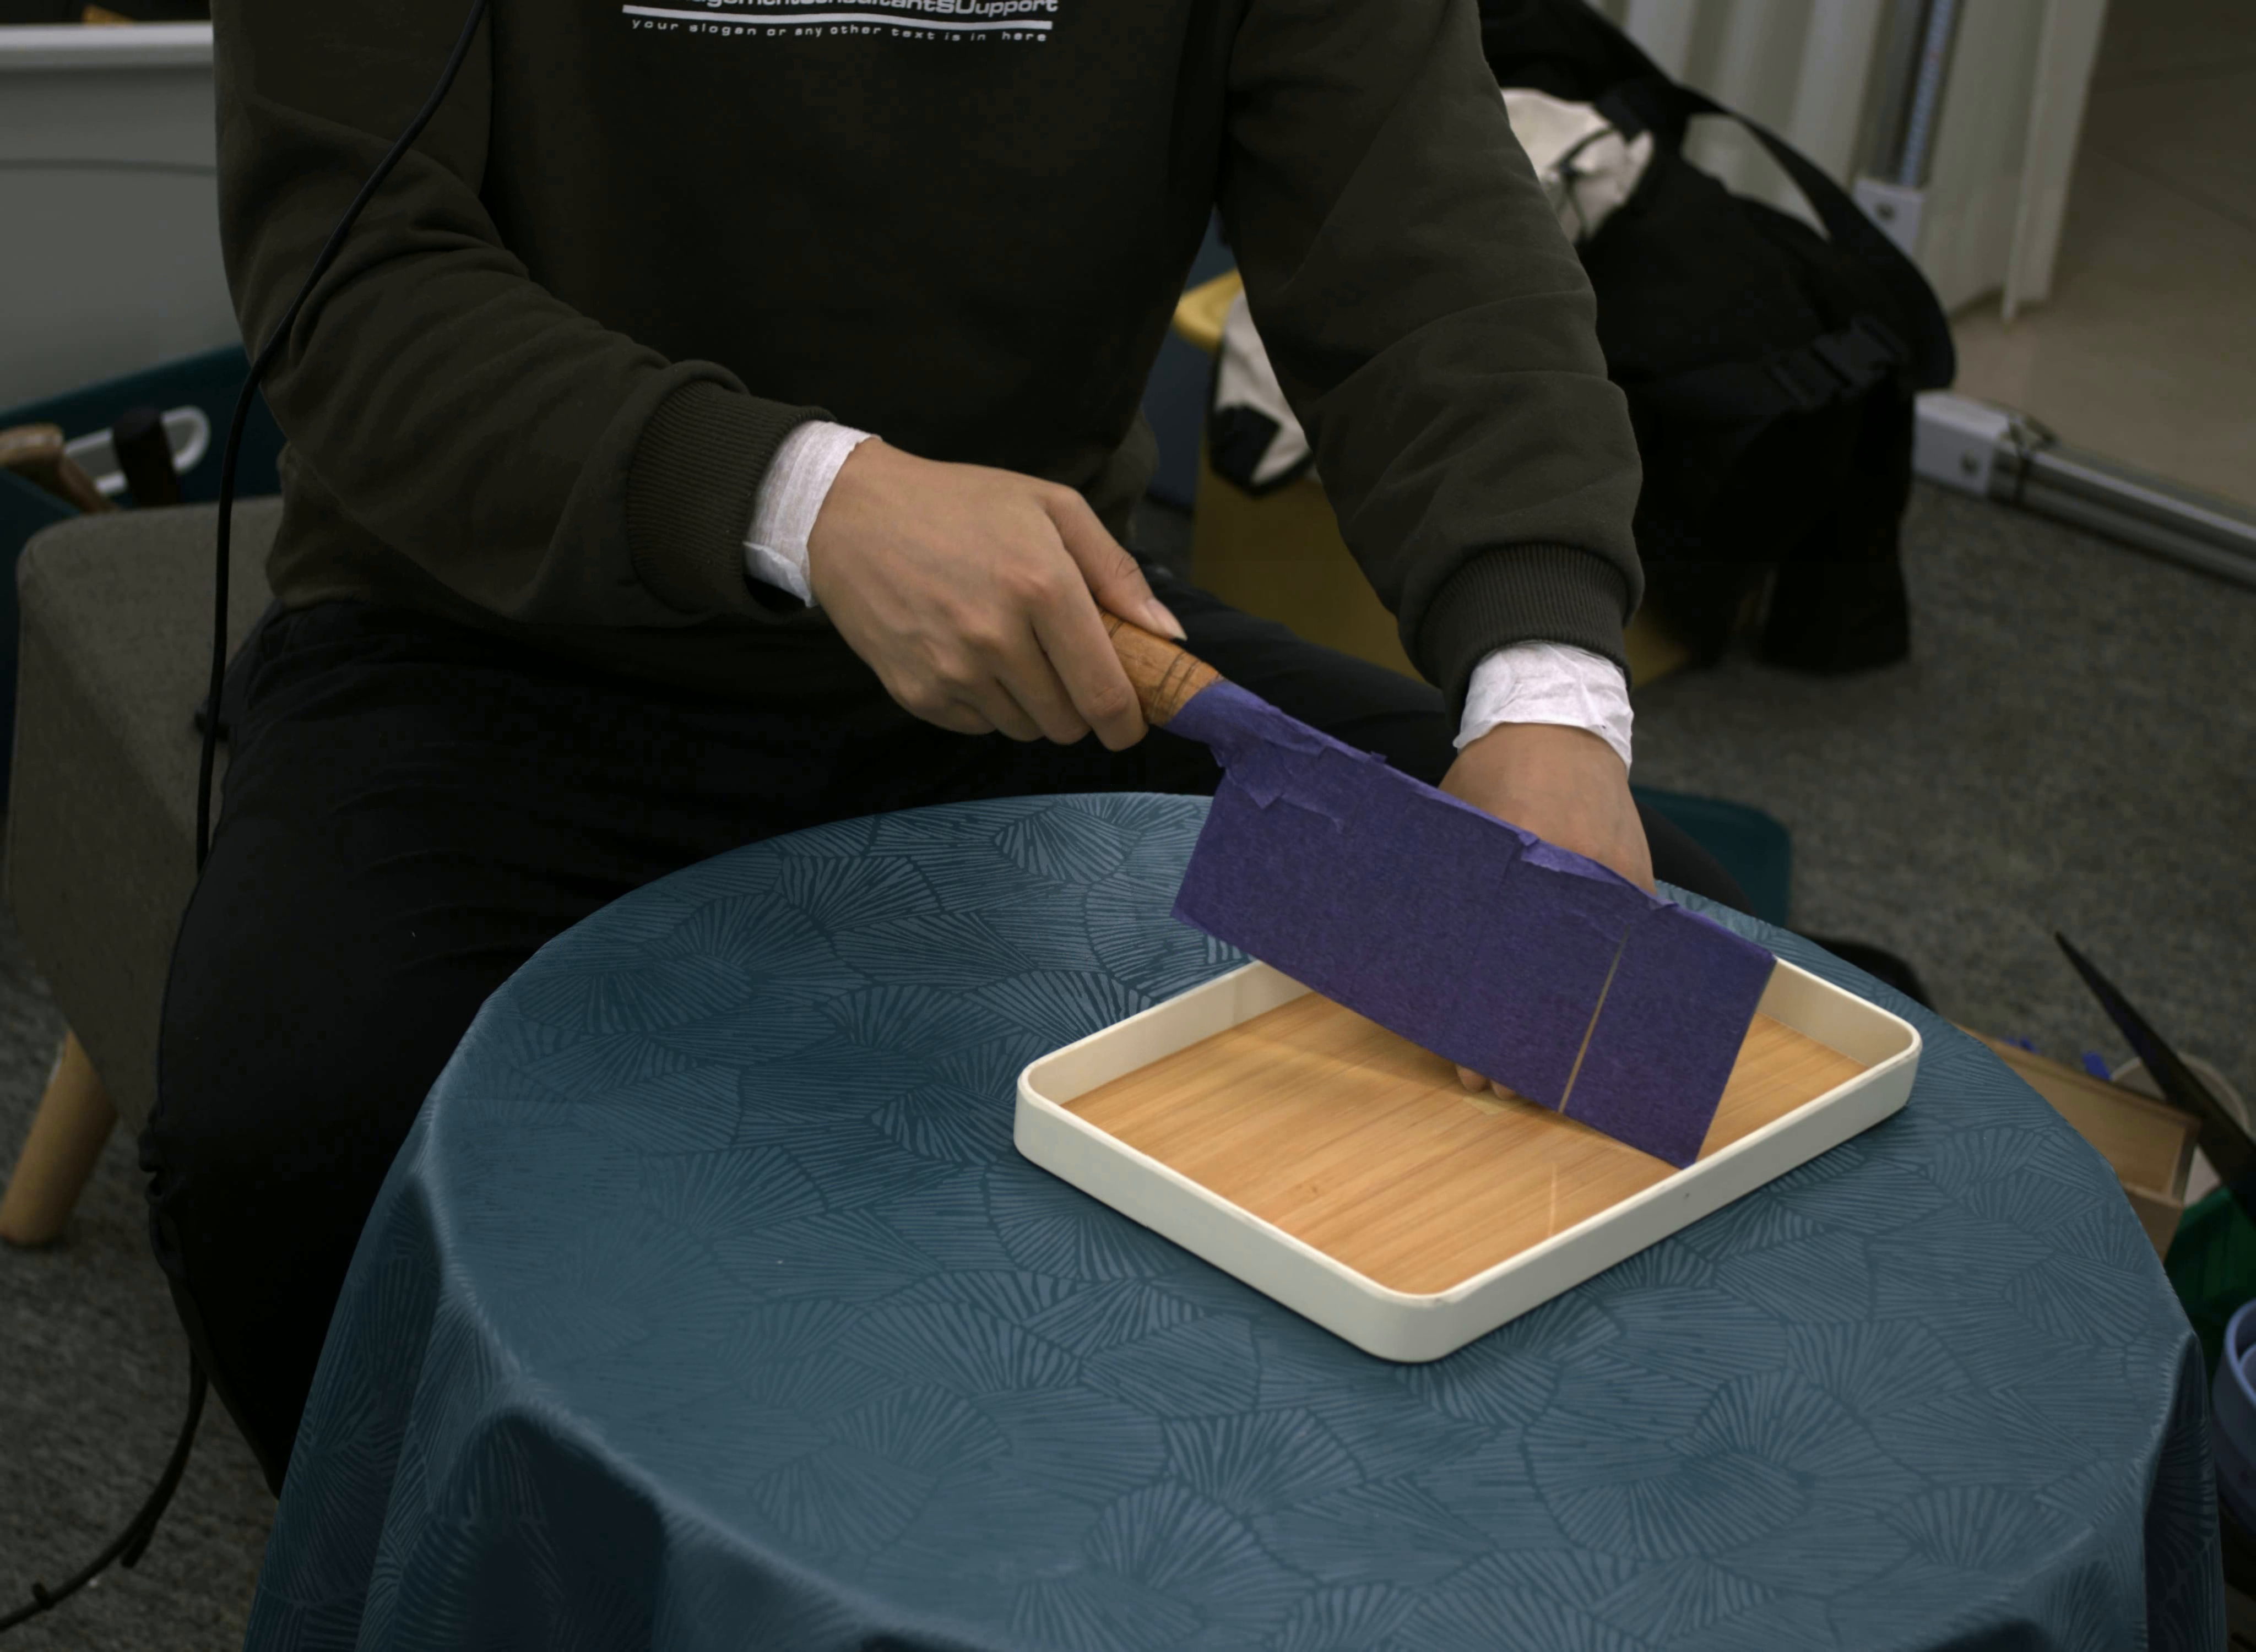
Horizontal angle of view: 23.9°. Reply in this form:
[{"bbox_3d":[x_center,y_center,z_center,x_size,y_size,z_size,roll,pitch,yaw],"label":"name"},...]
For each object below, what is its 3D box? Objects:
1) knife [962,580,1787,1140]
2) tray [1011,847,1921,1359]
[{"bbox_3d":[0.073,0.015,1.863,0.316,0.104,0.032,26,22,17],"label":"knife"},{"bbox_3d":[0.121,0.091,1.867,0.193,0.027,0.299,27,33,35],"label":"tray"}]
